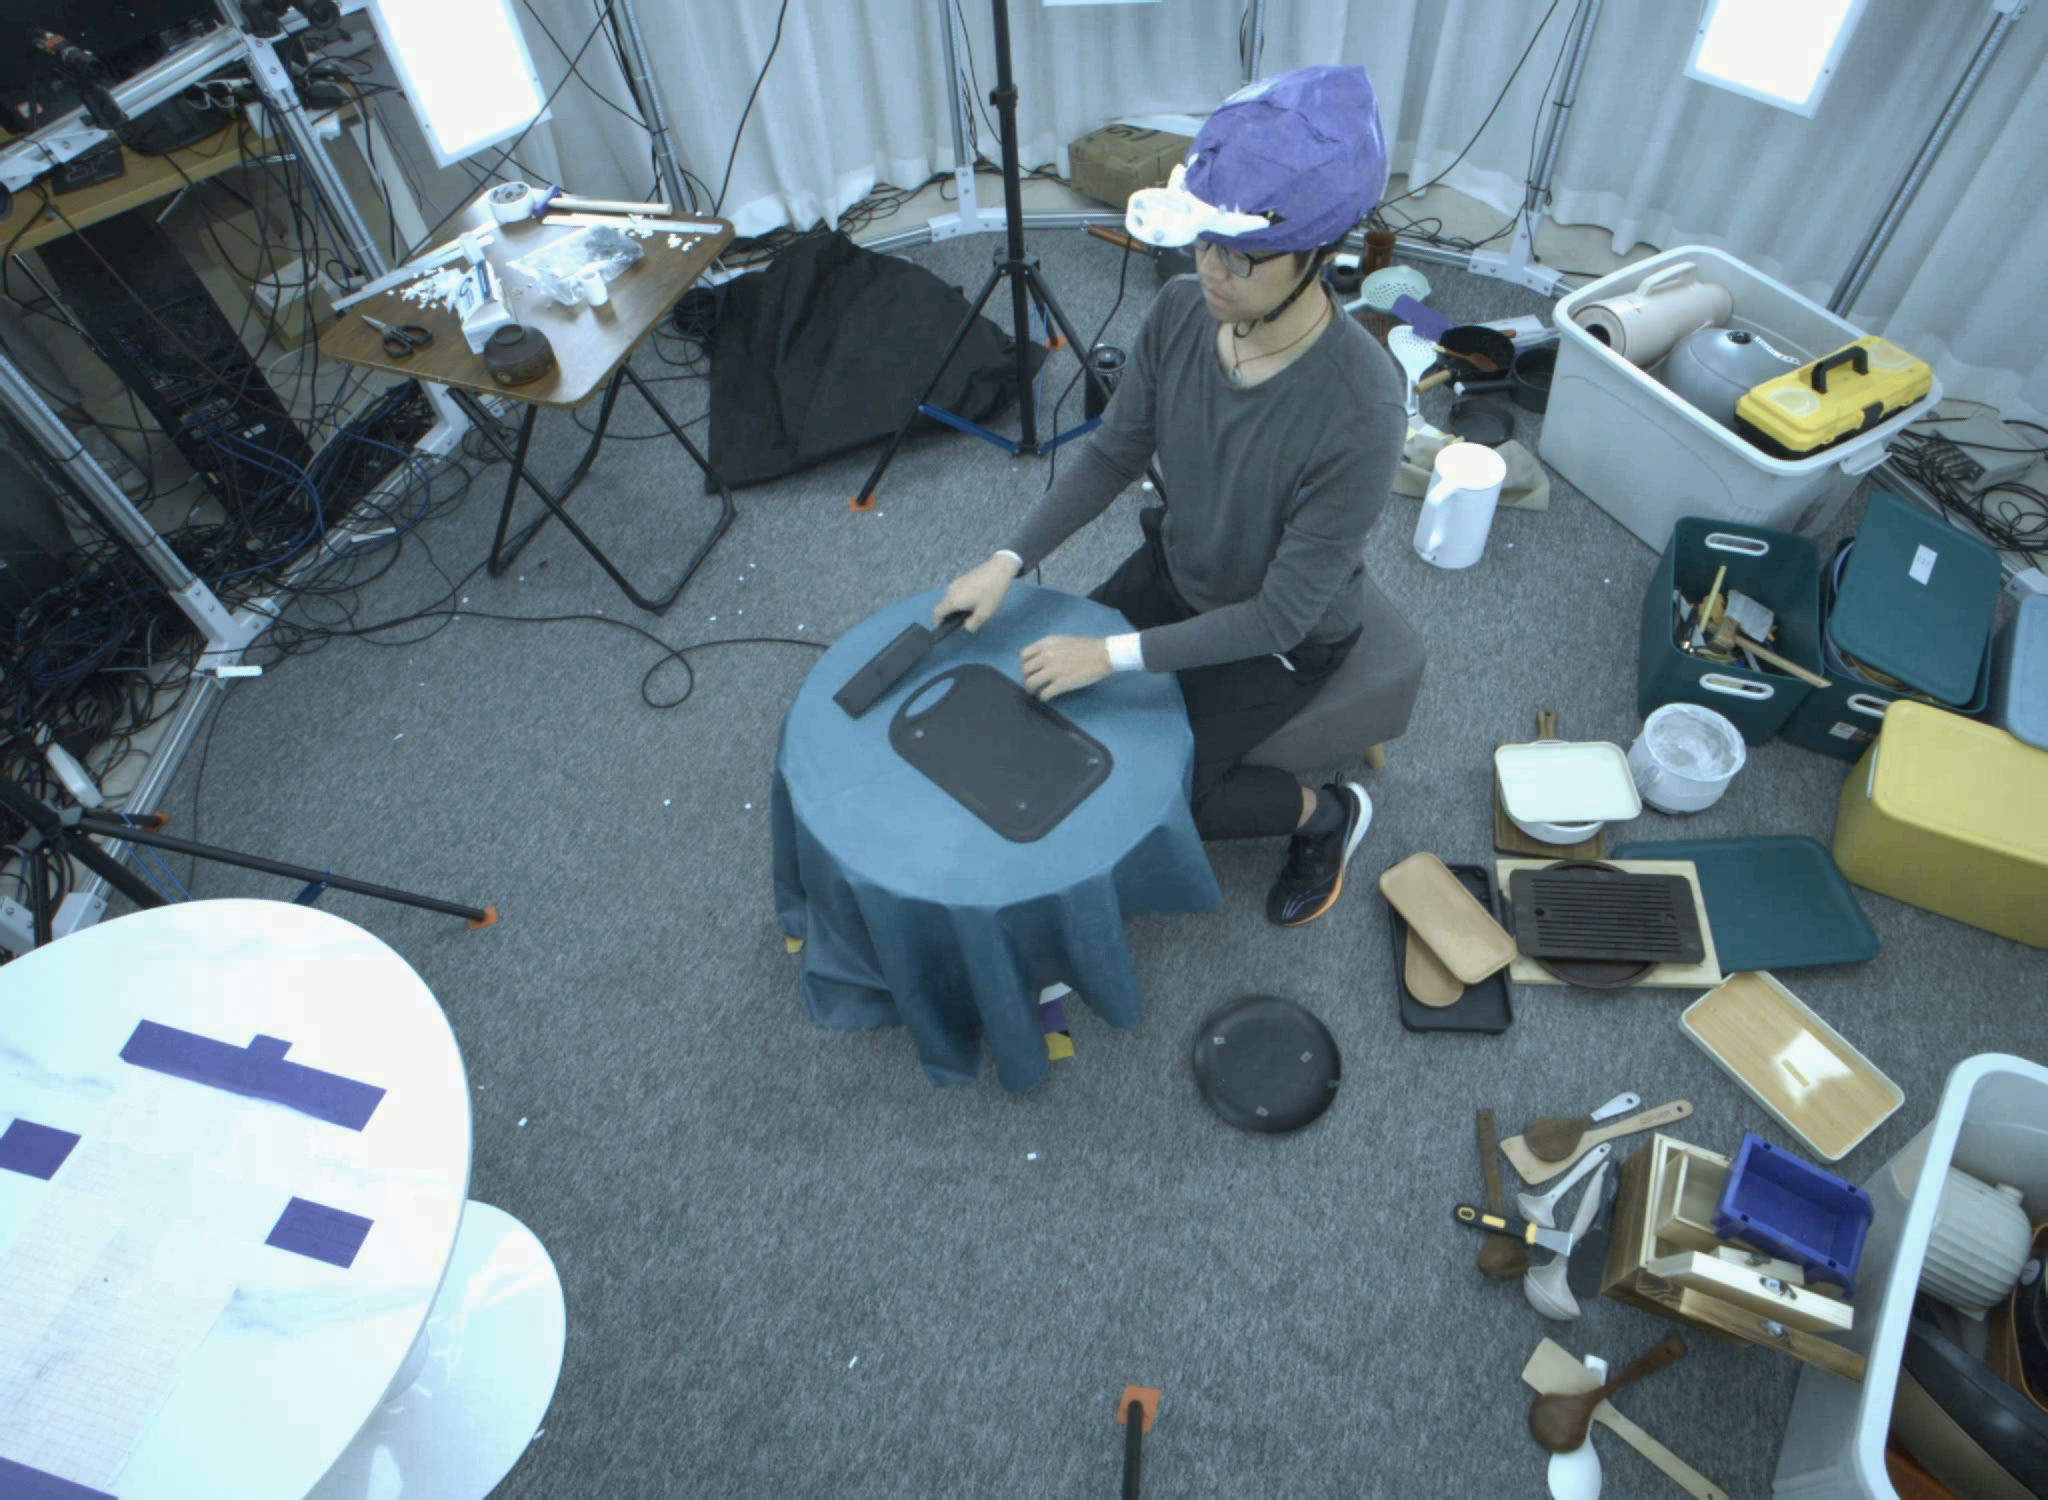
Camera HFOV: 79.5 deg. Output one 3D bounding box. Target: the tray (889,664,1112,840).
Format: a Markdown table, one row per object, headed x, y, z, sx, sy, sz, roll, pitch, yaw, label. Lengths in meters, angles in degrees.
| x | y | z | sx | sy | sz | roll | pitch | yaw | label |
| --- | --- | --- | --- | --- | --- | --- | --- | --- | --- |
| -0.044 | -0.009 | 1.799 | 0.319 | 0.010 | 0.212 | 37 | 63 | 25 | tray |

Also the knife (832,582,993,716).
| x | y | z | sx | sy | sz | roll | pitch | yaw | label |
| --- | --- | --- | --- | --- | --- | --- | --- | --- | --- |
| -0.167 | -0.161 | 1.884 | 0.304 | 0.021 | 0.079 | -39 | 58 | -14 | knife |
